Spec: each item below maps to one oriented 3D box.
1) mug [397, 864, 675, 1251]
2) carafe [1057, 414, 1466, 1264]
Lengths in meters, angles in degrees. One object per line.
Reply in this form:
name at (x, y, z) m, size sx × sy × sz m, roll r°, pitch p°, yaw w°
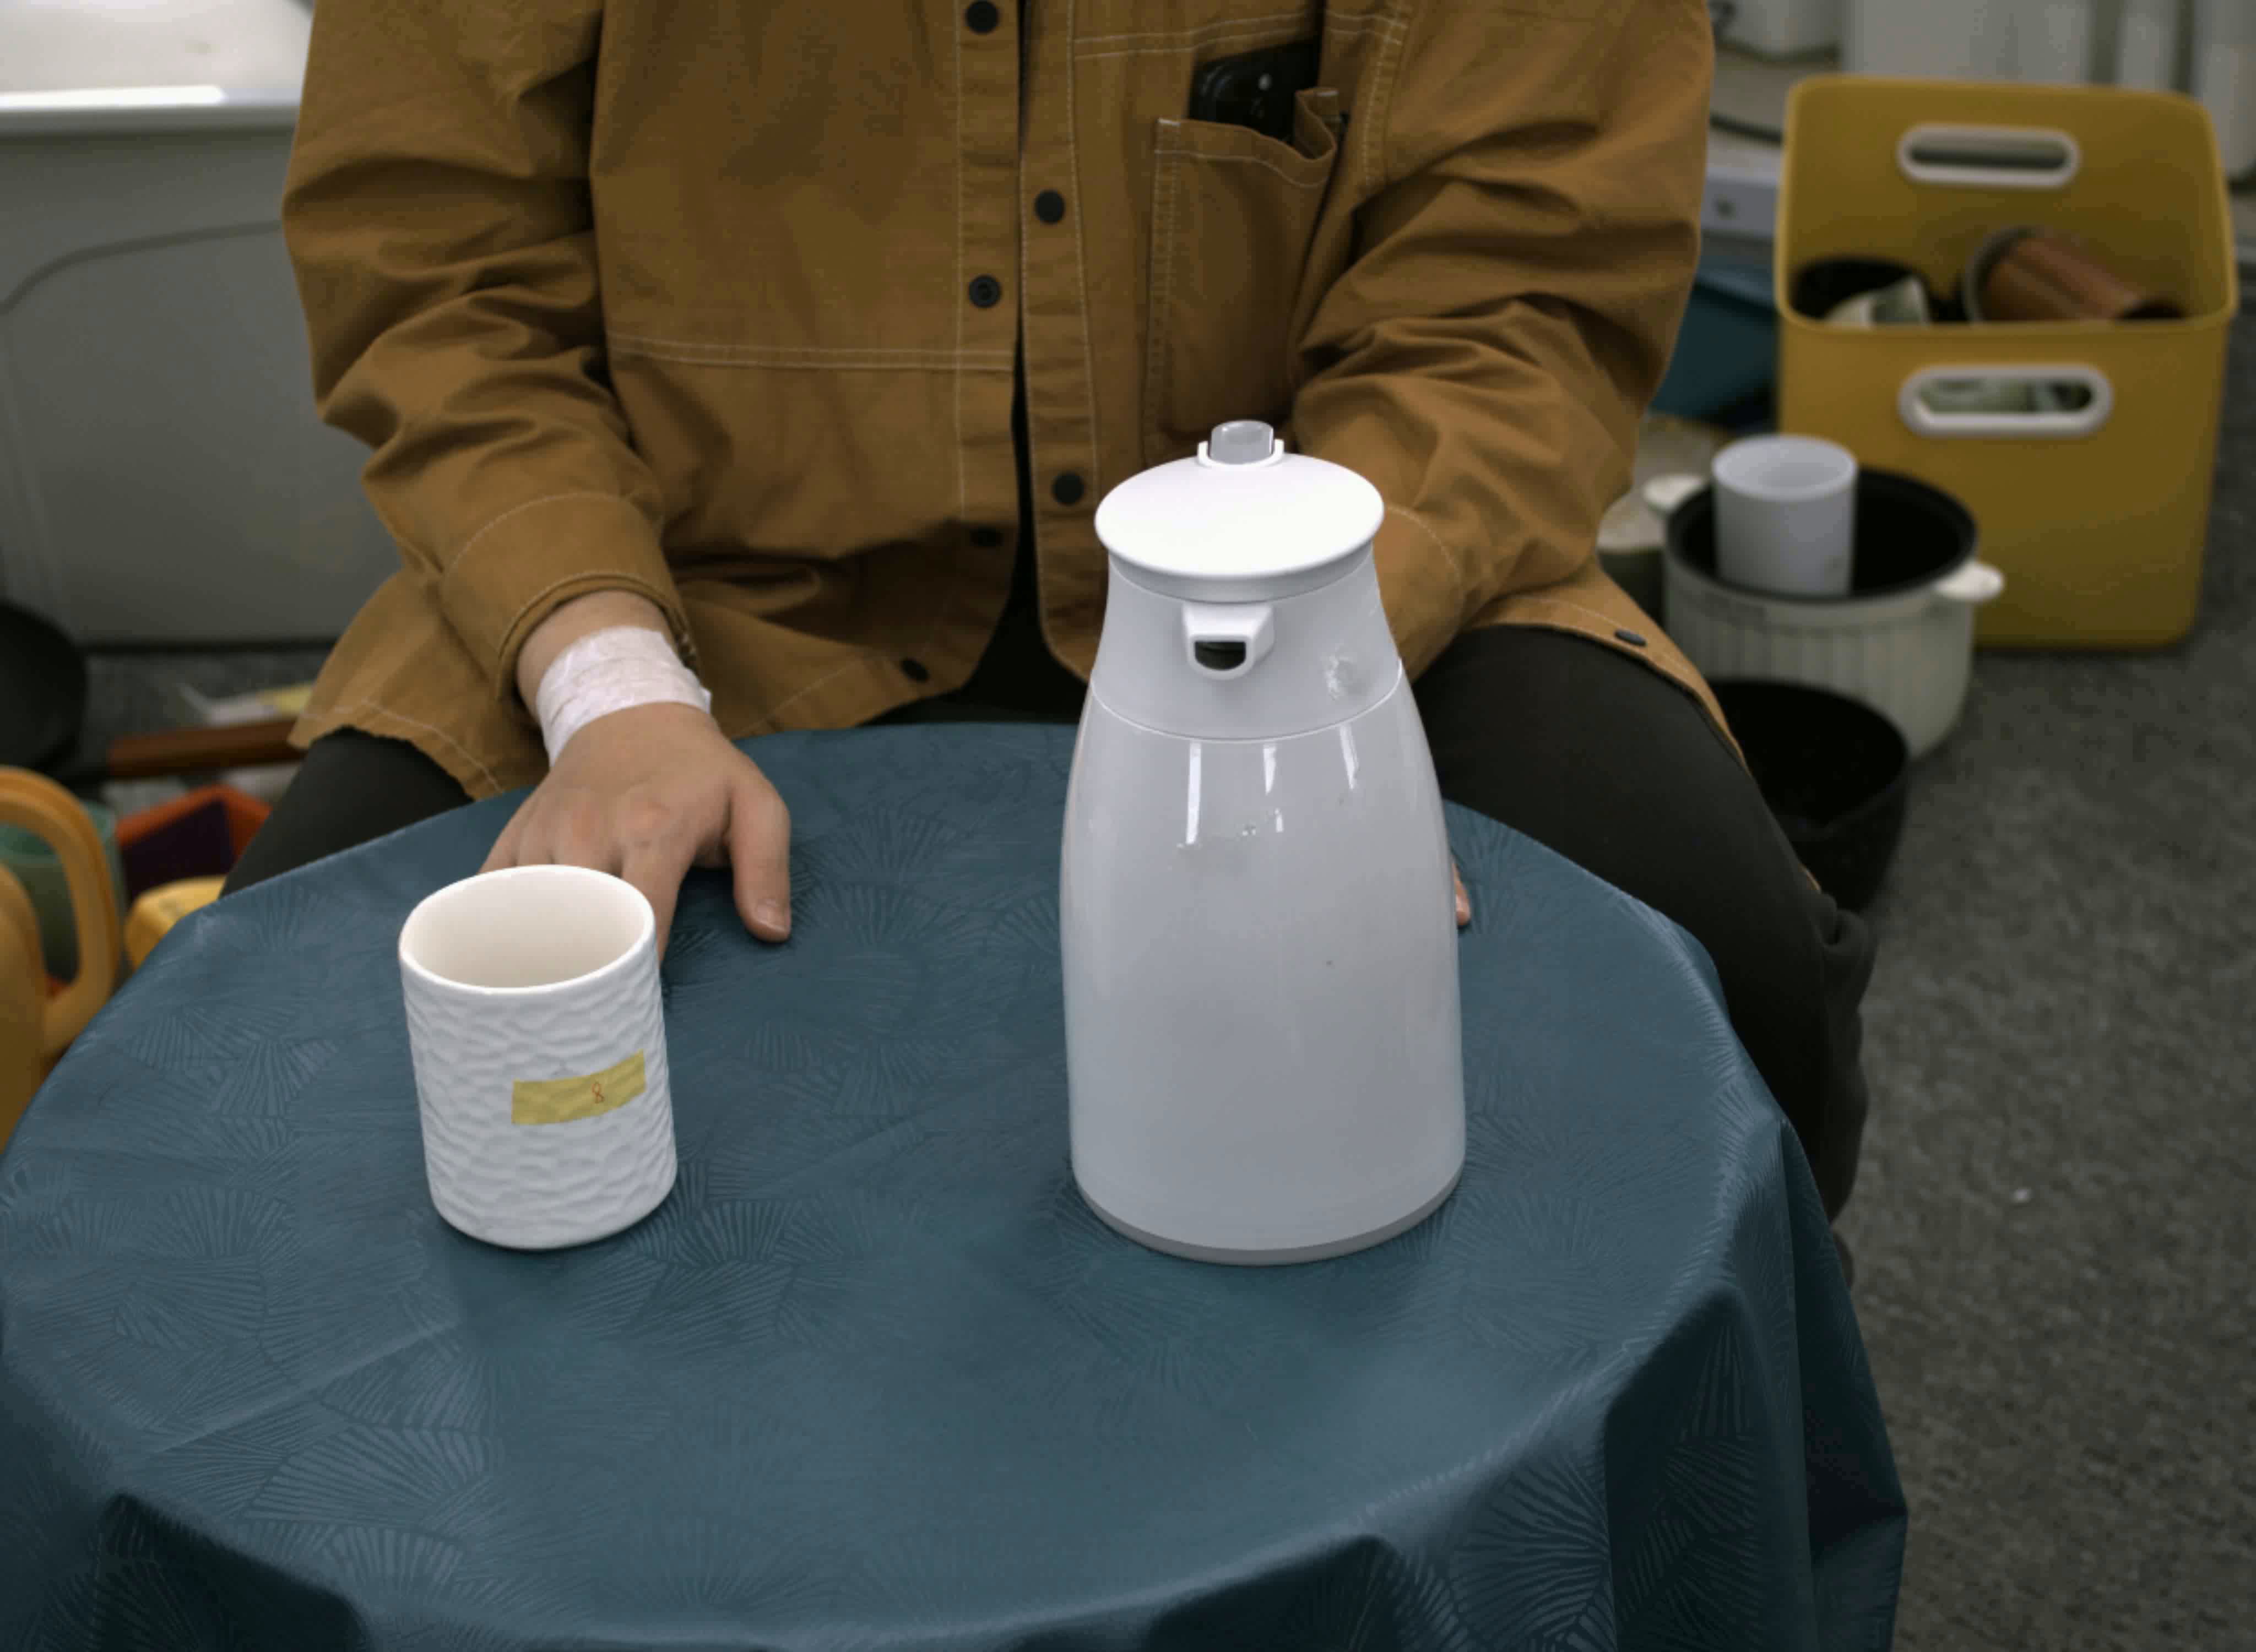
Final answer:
mug at (-0.196, 0.070, 1.868) m, size 0.085 × 0.101 × 0.120 m, roll -5°, pitch 26°, yaw -5°
carafe at (0.040, -0.006, 1.836) m, size 0.132 × 0.246 × 0.170 m, roll -1°, pitch 26°, yaw 6°
